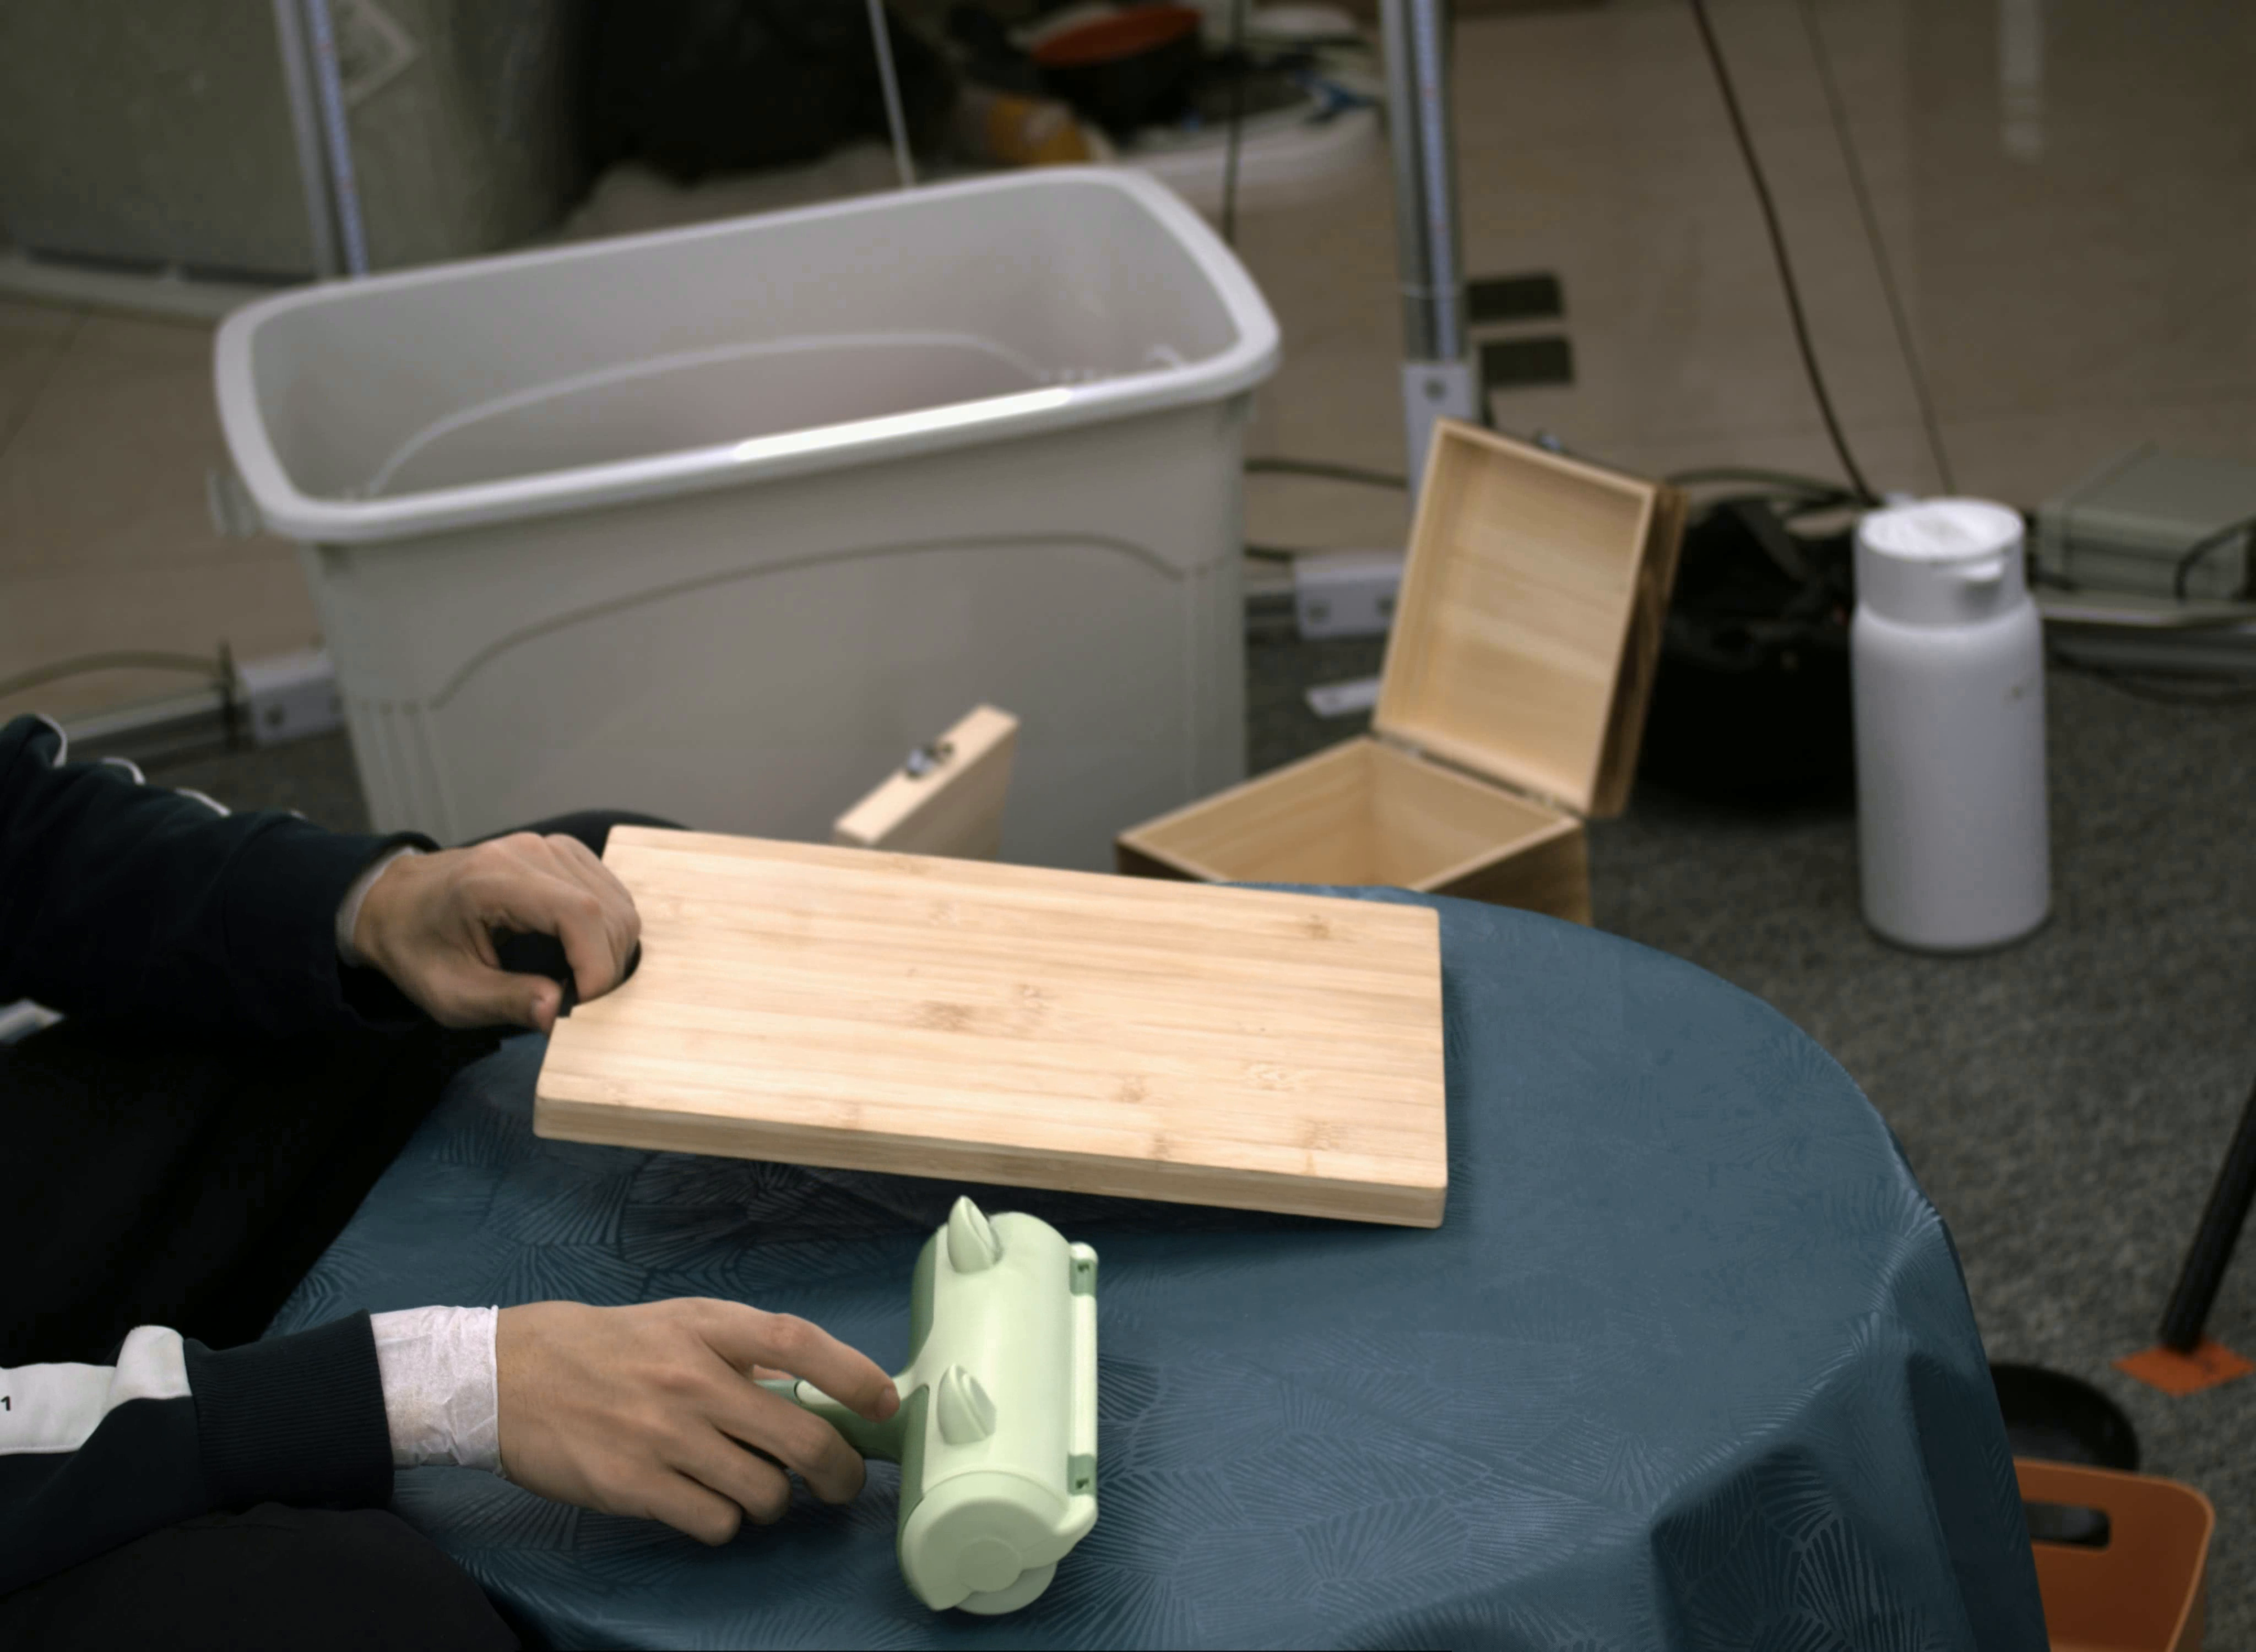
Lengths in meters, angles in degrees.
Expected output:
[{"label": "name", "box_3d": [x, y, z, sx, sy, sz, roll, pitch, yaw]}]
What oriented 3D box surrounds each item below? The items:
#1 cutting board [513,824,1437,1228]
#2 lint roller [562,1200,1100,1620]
[{"label": "cutting board", "box_3d": [-0.051, 0.075, 2.197, 0.348, 0.024, 0.247, 5, 25, -1]}, {"label": "lint roller", "box_3d": [-0.103, 0.192, 1.947, 0.183, 0.083, 0.195, 2, 26, 0]}]
